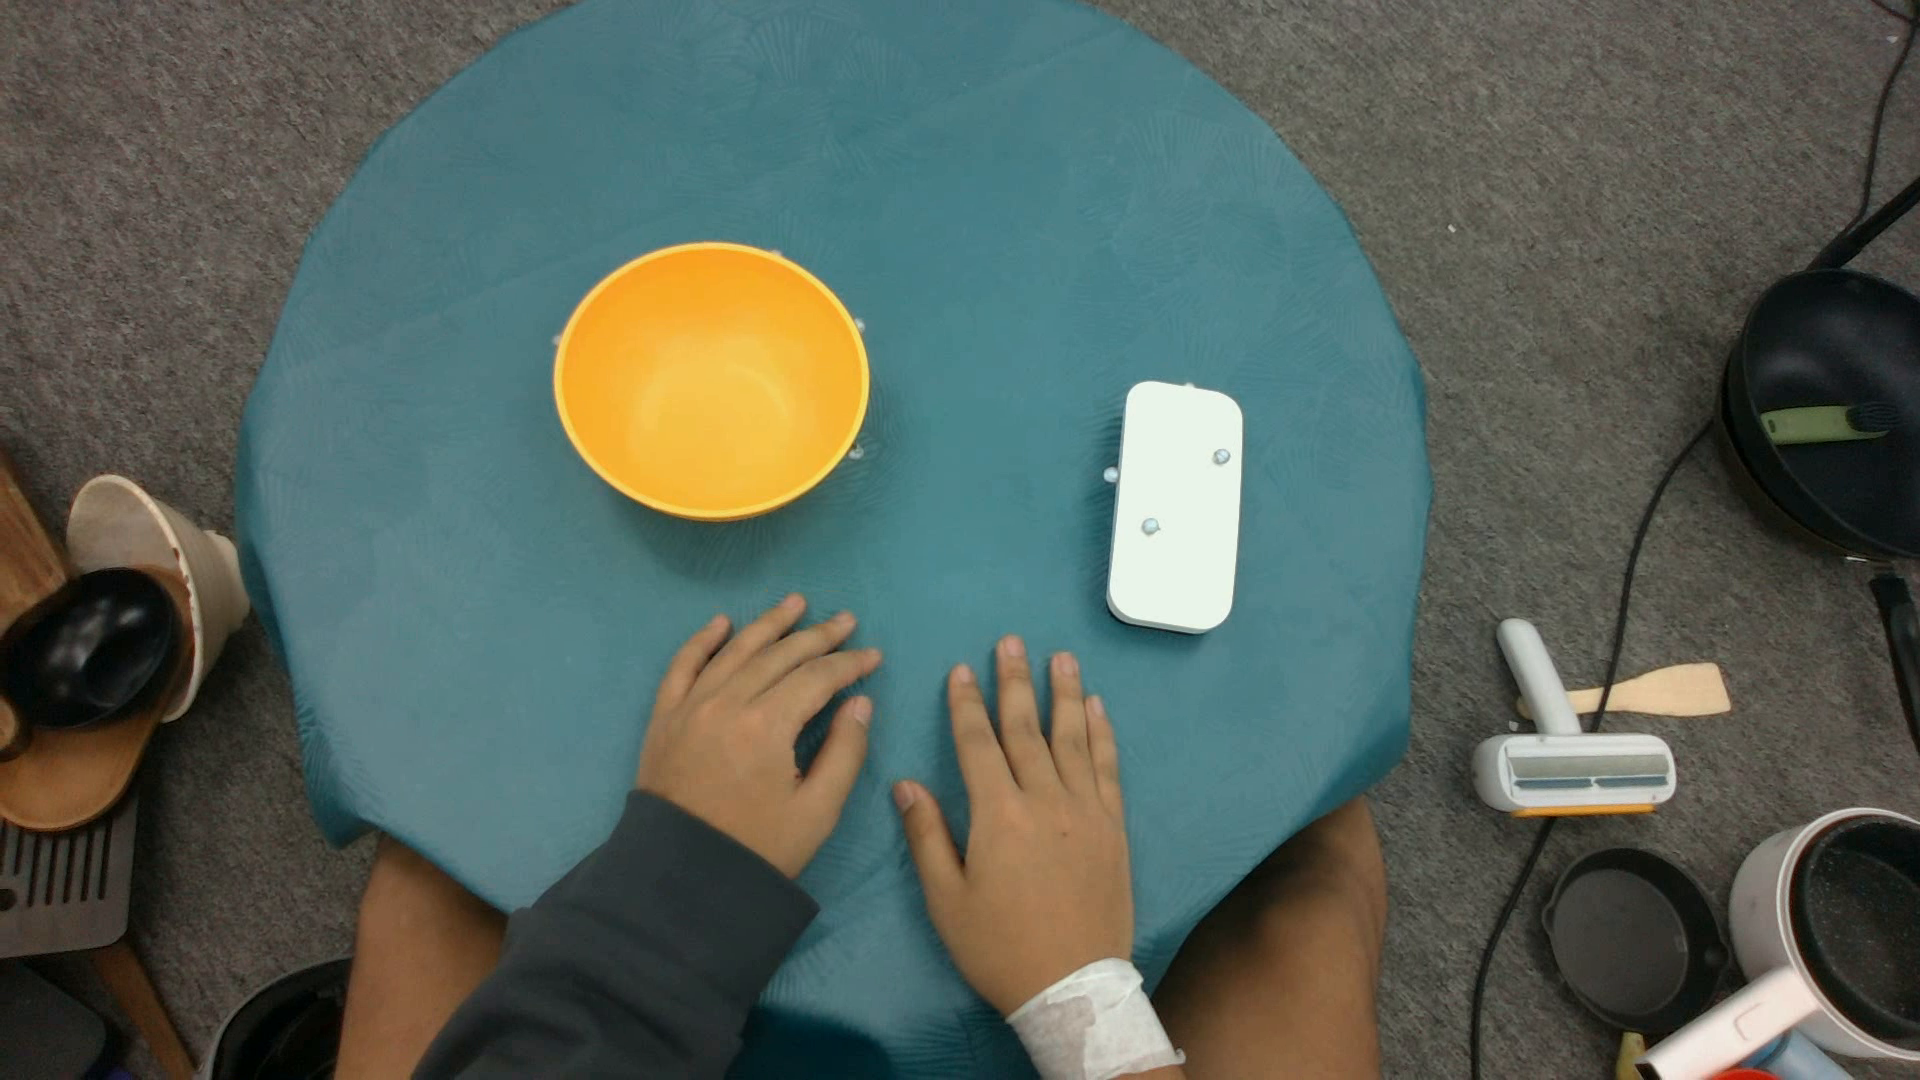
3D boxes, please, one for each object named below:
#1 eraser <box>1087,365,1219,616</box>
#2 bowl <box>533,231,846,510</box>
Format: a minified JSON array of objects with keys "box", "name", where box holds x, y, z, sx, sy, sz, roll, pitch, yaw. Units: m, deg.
[{"box":[0.096,-0.027,0.695,0.063,0.034,0.132,9,67,-3],"name":"eraser"},{"box":[-0.129,-0.074,0.672,0.145,0.060,0.146,2,71,-6],"name":"bowl"}]
